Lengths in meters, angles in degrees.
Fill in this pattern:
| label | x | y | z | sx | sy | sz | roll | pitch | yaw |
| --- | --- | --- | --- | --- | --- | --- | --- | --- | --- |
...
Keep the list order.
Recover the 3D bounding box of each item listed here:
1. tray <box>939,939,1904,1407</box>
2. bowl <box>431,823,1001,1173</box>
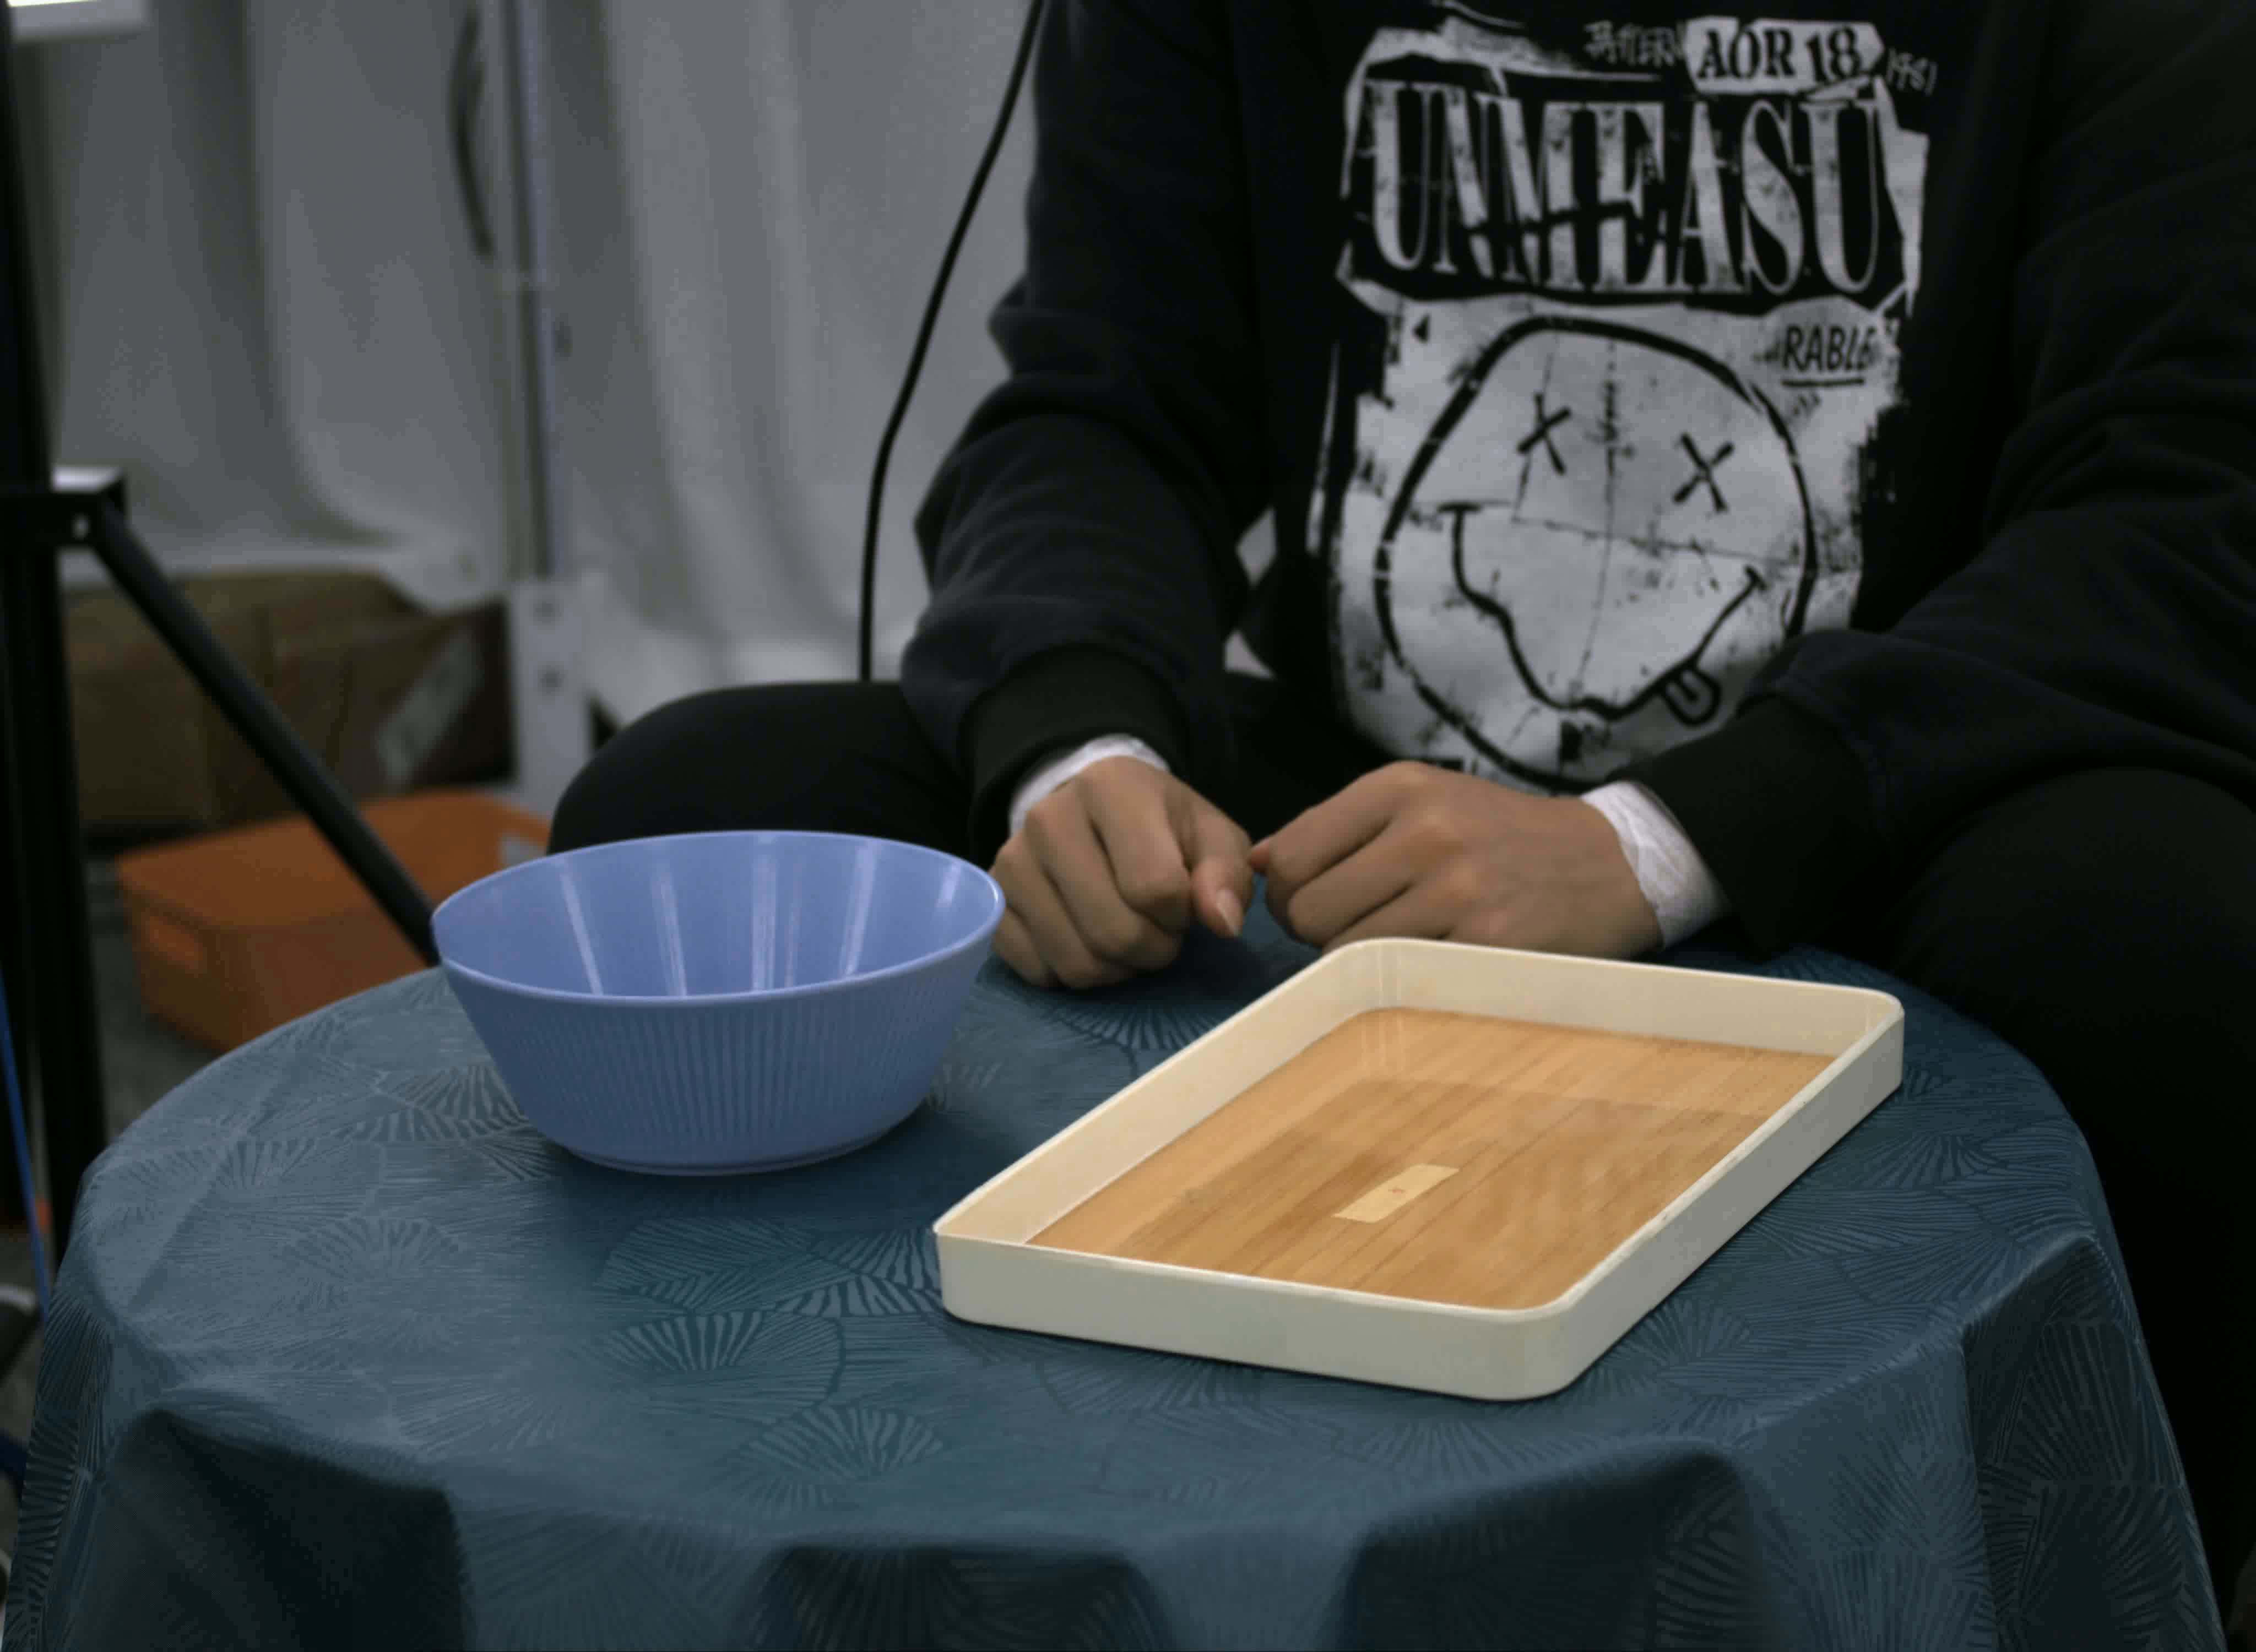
| label | x | y | z | sx | sy | sz | roll | pitch | yaw |
| --- | --- | --- | --- | --- | --- | --- | --- | --- | --- |
| tray | 0.093 | 0.095 | 1.541 | 0.195 | 0.027 | 0.295 | 6 | 18 | 27 |
| bowl | -0.124 | 0.056 | 1.633 | 0.175 | 0.070 | 0.177 | -3 | 17 | 0 |
